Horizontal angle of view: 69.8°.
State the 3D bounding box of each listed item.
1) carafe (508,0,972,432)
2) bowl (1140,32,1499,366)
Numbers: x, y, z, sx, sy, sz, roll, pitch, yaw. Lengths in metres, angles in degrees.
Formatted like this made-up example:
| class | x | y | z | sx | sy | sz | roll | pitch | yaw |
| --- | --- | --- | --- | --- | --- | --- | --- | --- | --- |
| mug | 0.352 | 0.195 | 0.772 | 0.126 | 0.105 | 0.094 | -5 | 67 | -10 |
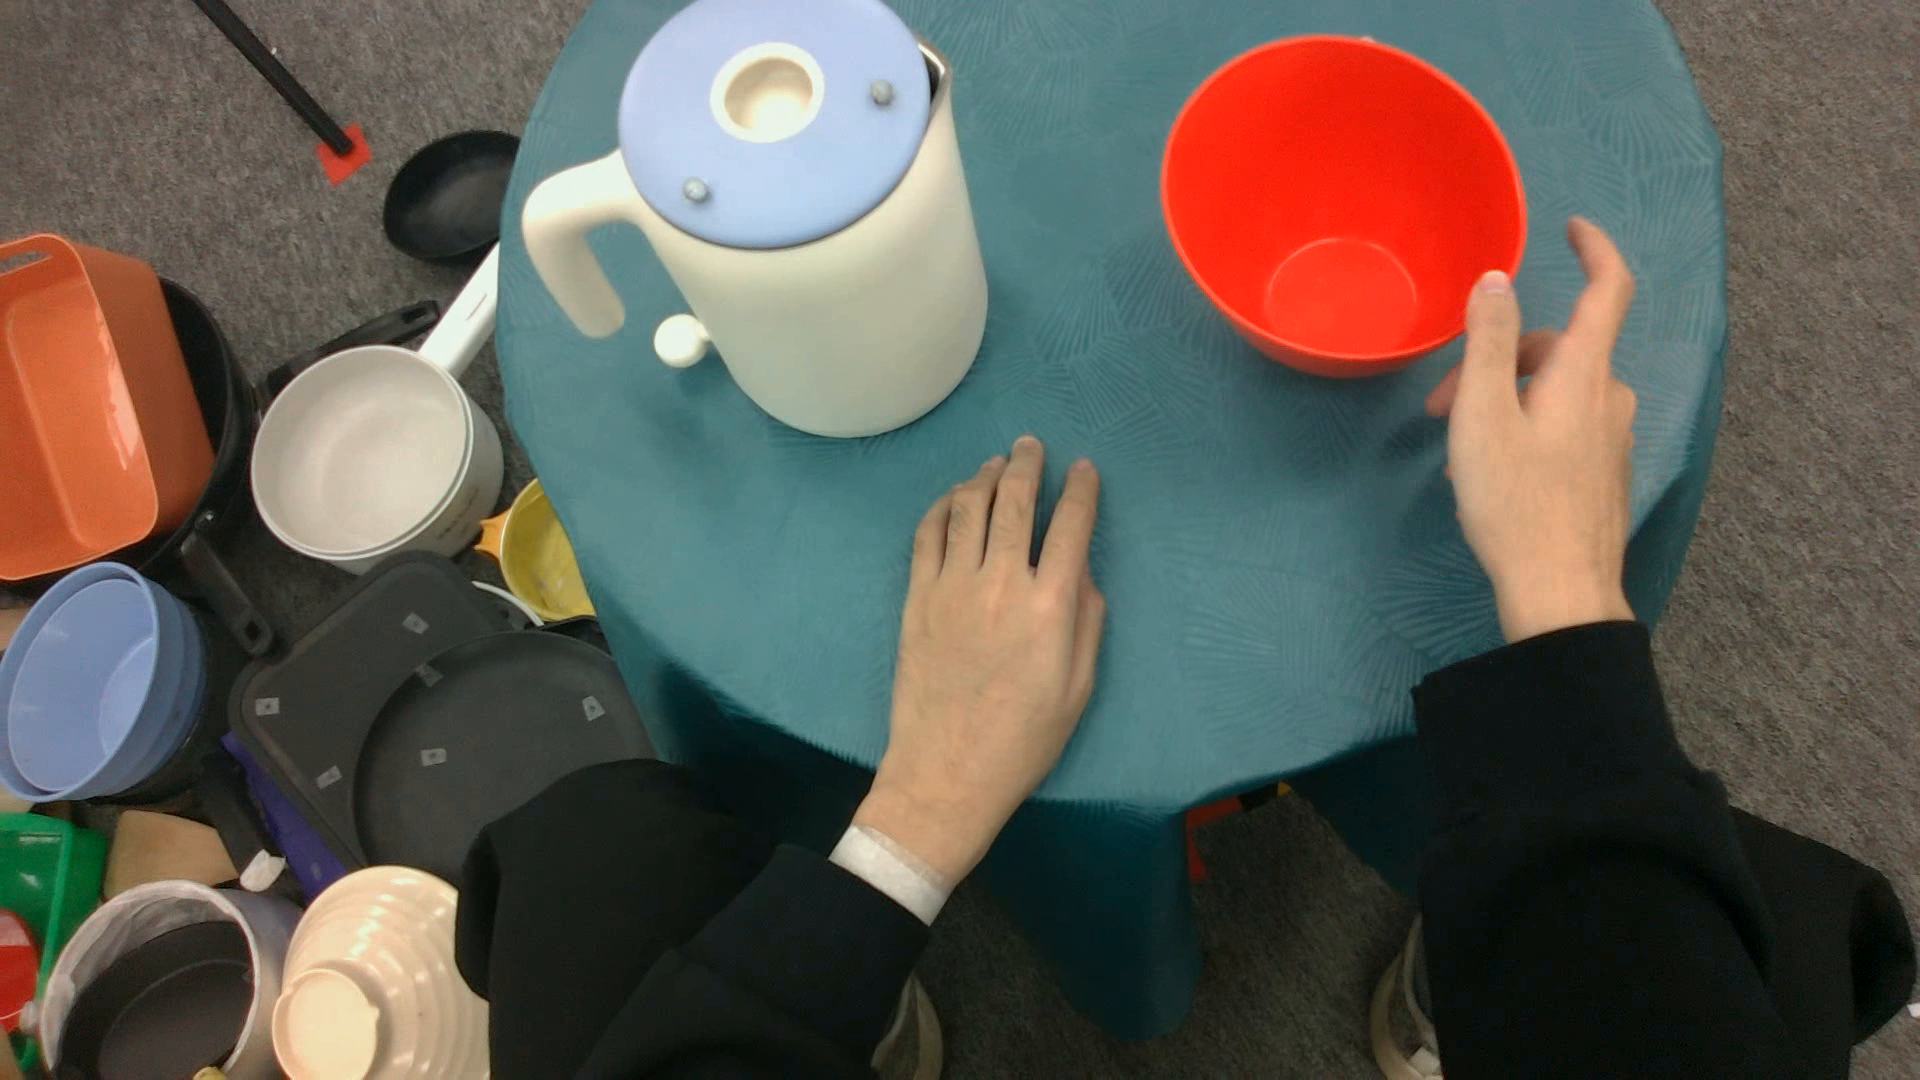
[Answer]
| class | x | y | z | sx | sy | sz | roll | pitch | yaw |
| --- | --- | --- | --- | --- | --- | --- | --- | --- | --- |
| carafe | -0.091 | -0.131 | 0.592 | 0.191 | 0.182 | 0.132 | -16 | 69 | 3 |
| bowl | 0.153 | -0.134 | 0.605 | 0.148 | 0.104 | 0.148 | -2 | 70 | 6 |
